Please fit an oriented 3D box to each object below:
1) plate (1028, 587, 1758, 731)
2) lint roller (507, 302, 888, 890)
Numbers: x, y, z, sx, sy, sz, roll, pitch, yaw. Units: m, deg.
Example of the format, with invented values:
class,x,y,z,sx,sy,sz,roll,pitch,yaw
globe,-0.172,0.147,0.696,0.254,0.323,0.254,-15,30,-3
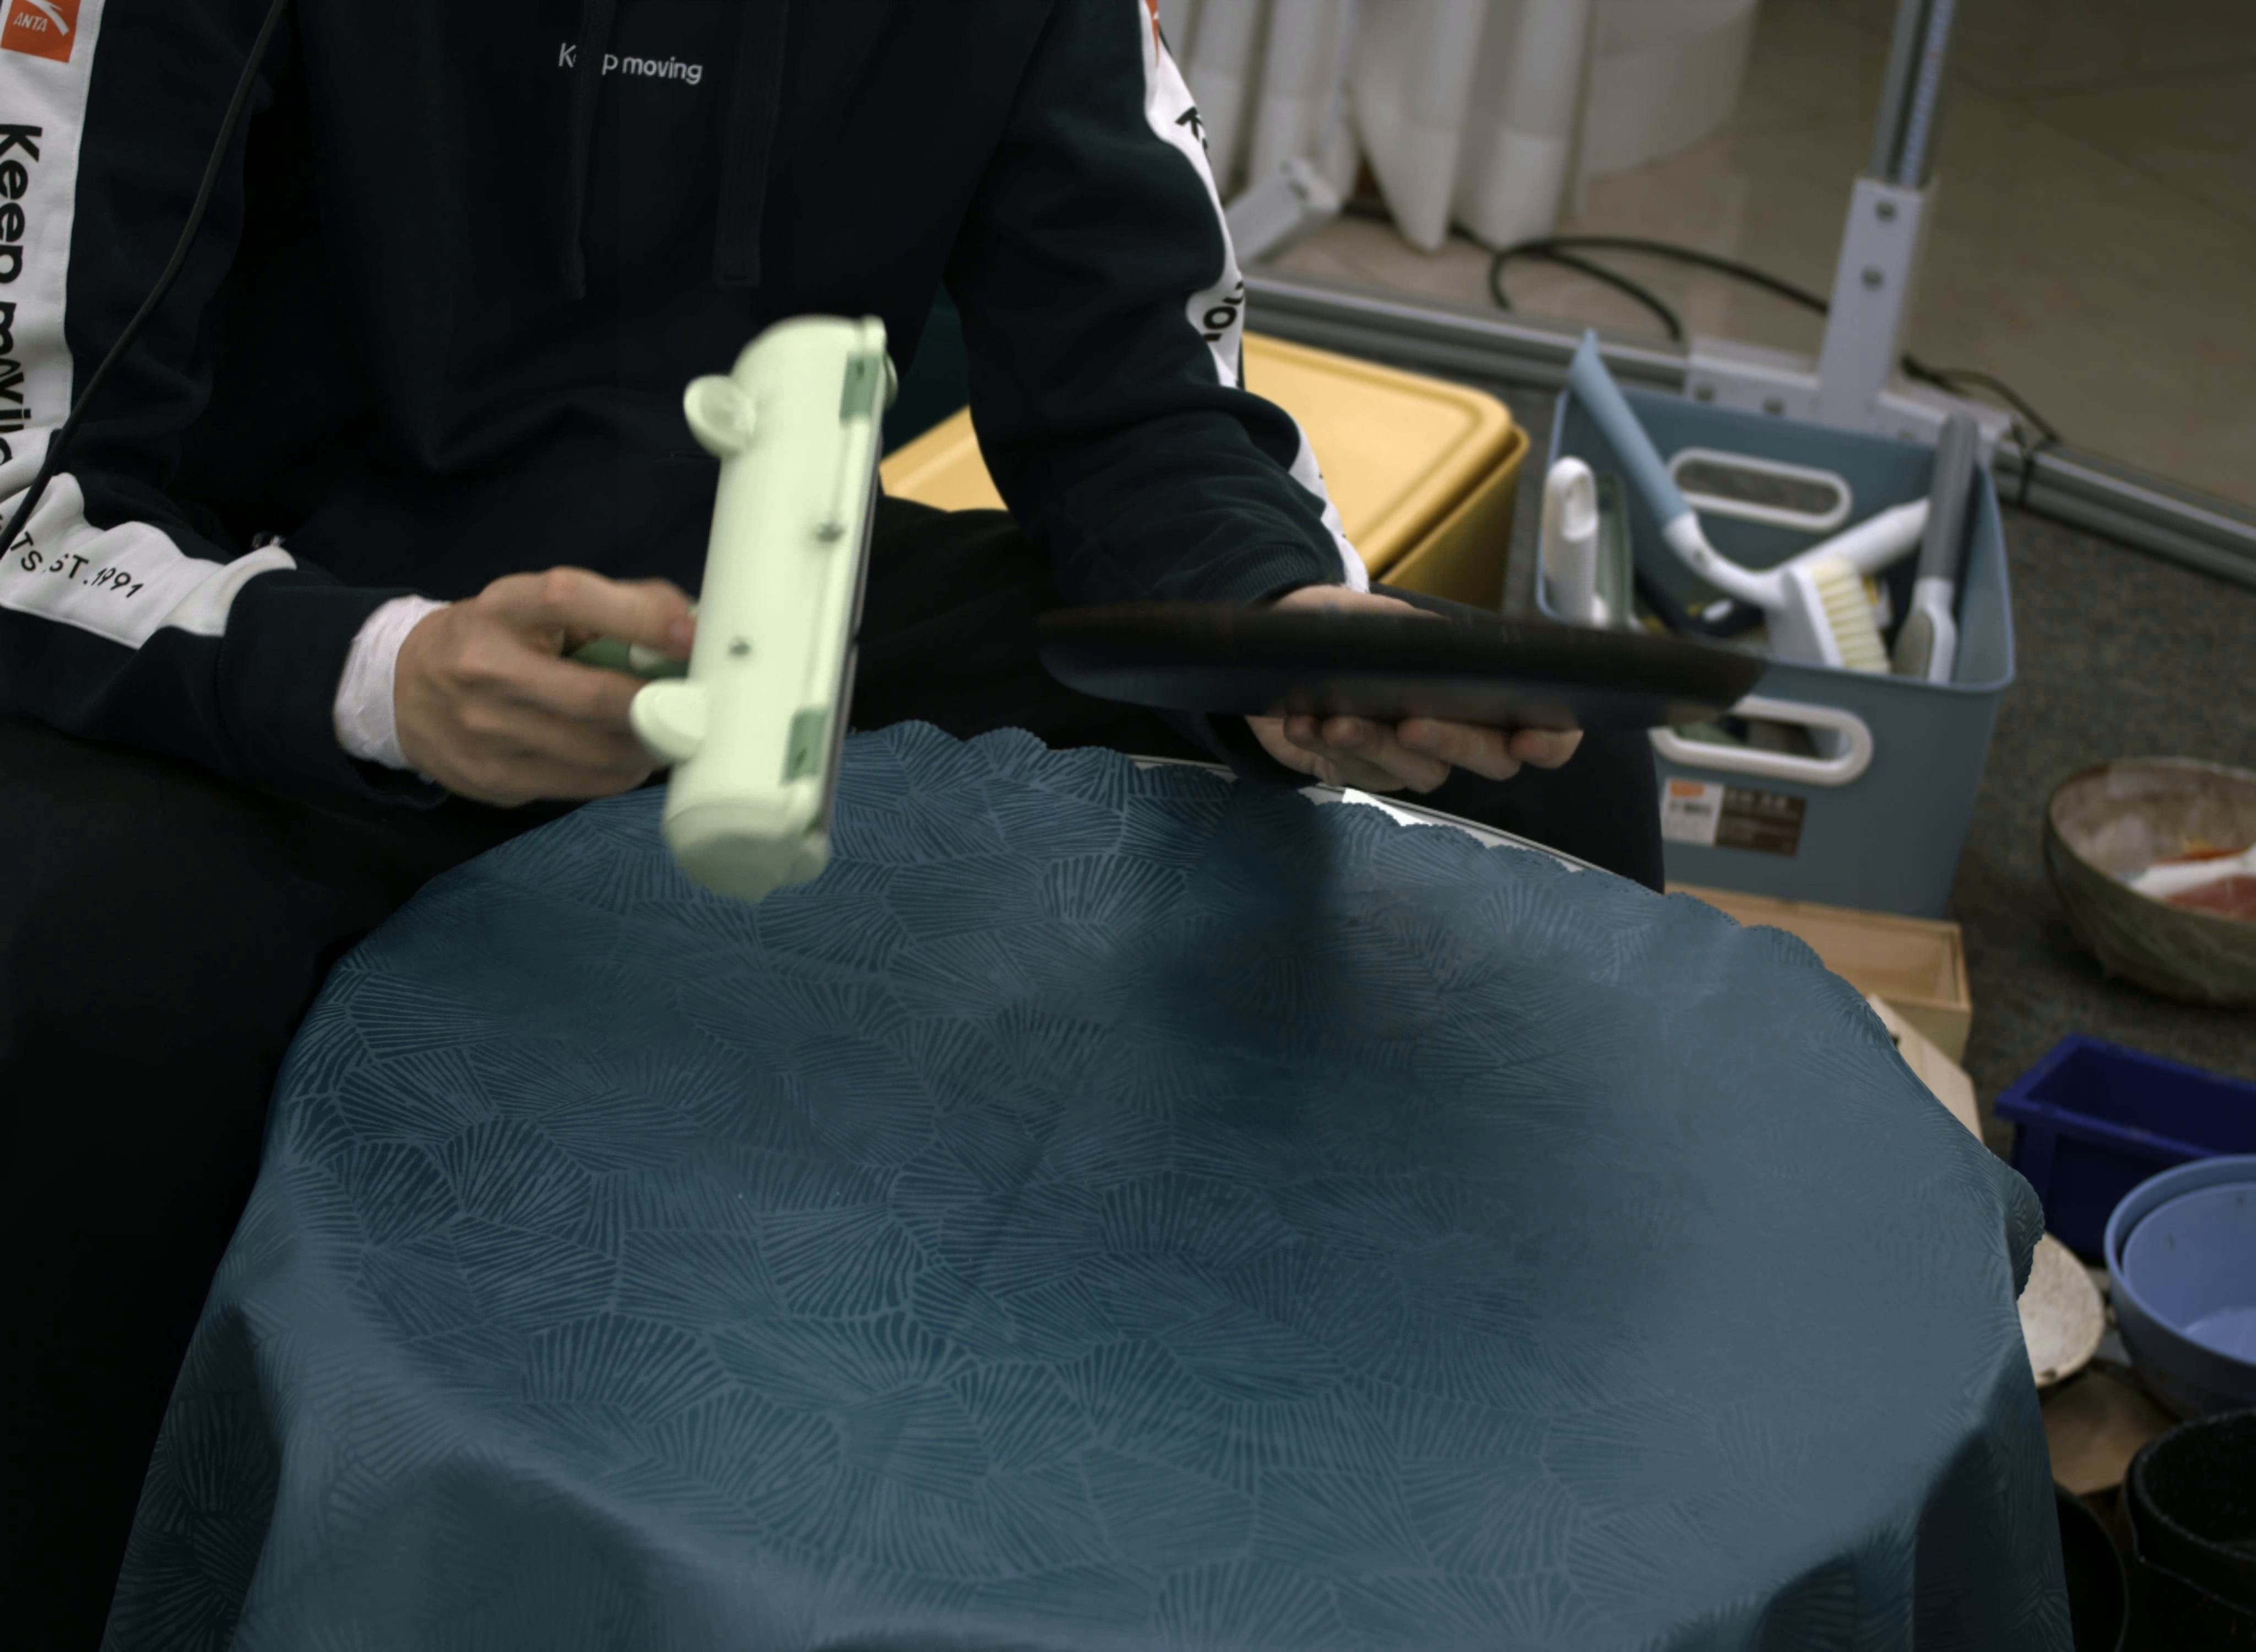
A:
class,x,y,z,sx,sy,sz,roll,pitch,yaw
plate,0.091,-0.057,1.849,0.254,0.029,0.254,3,-3,0
lint roller,-0.159,-0.067,1.767,0.184,0.200,0.081,-17,-35,36
